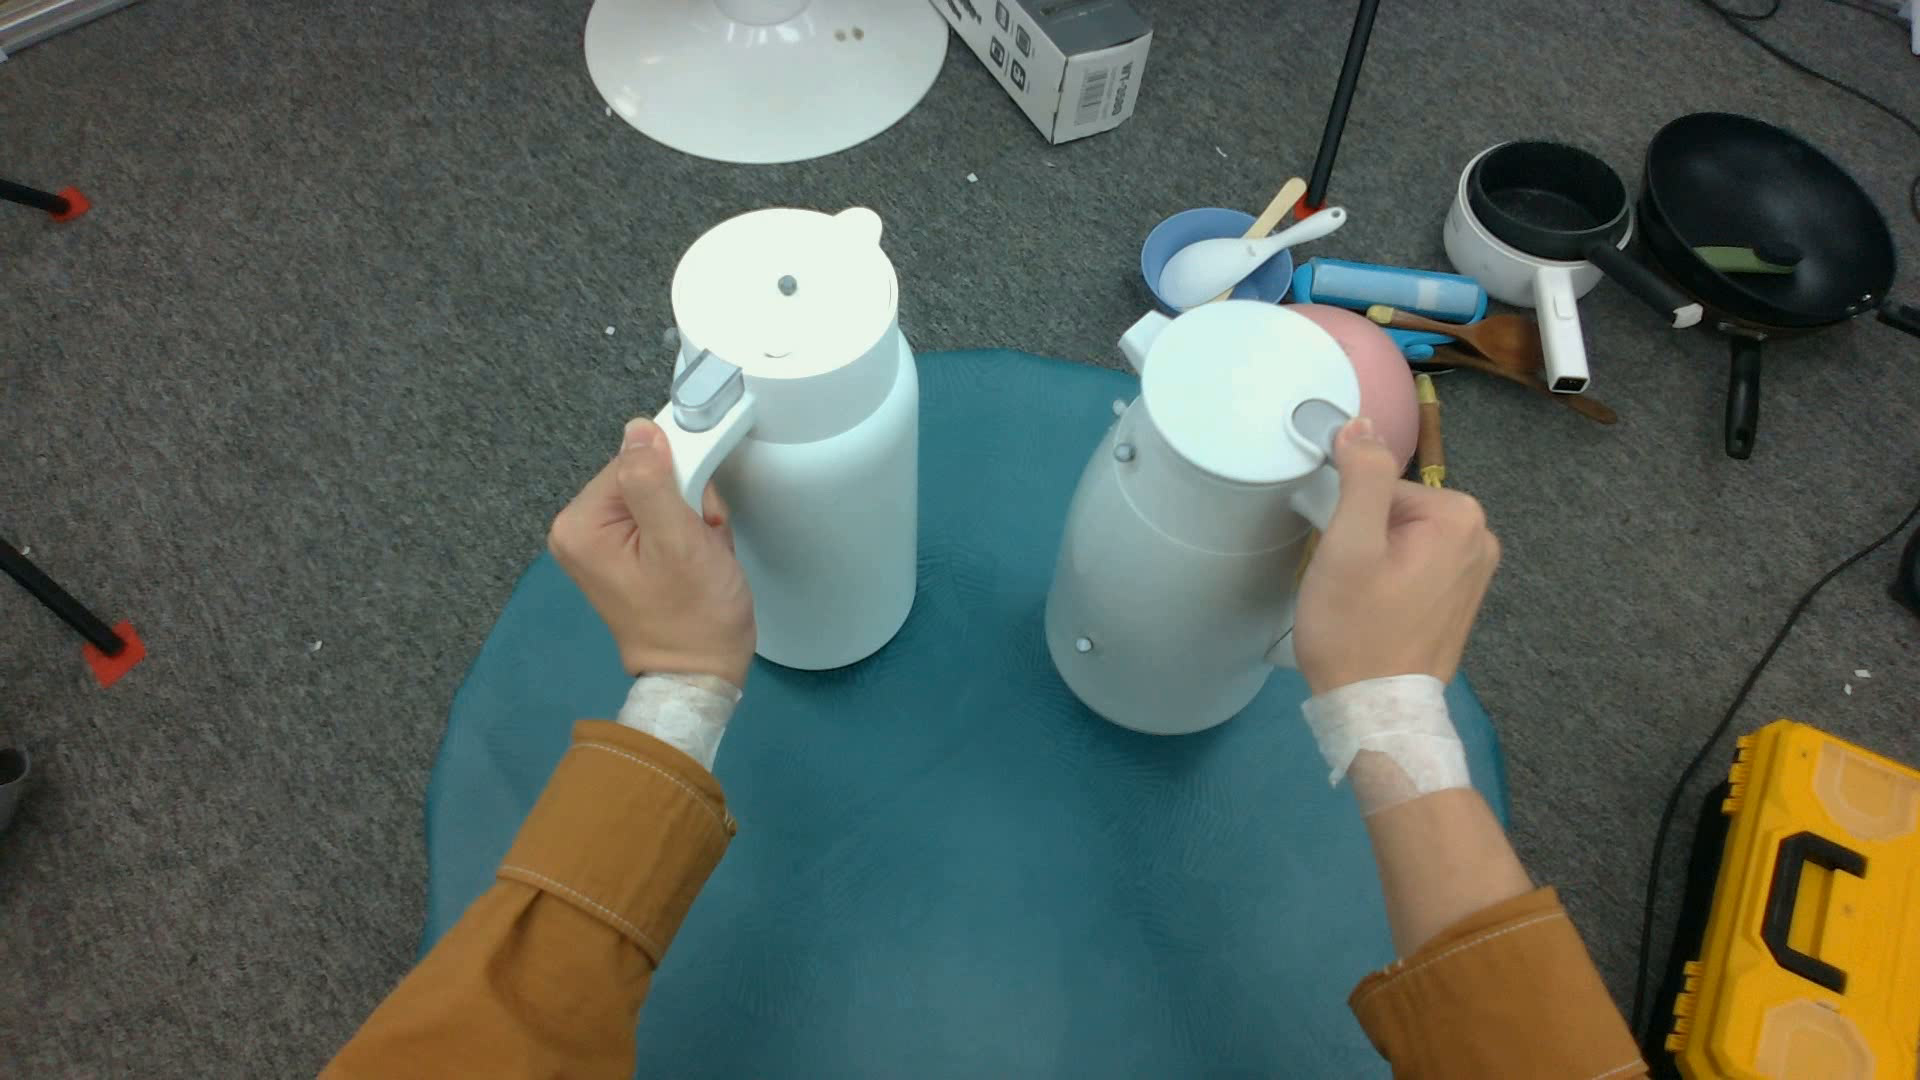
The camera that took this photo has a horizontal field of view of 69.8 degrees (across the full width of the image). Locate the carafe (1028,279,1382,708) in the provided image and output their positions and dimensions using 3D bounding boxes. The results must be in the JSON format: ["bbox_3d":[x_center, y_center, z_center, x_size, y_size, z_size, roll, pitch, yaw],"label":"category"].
[{"bbox_3d":[0.122,-0.010,0.676,0.168,0.247,0.133,41,68,16],"label":"carafe"}]

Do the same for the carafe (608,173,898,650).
[{"bbox_3d":[-0.099,-0.038,0.702,0.124,0.267,0.173,28,61,11],"label":"carafe"}]
